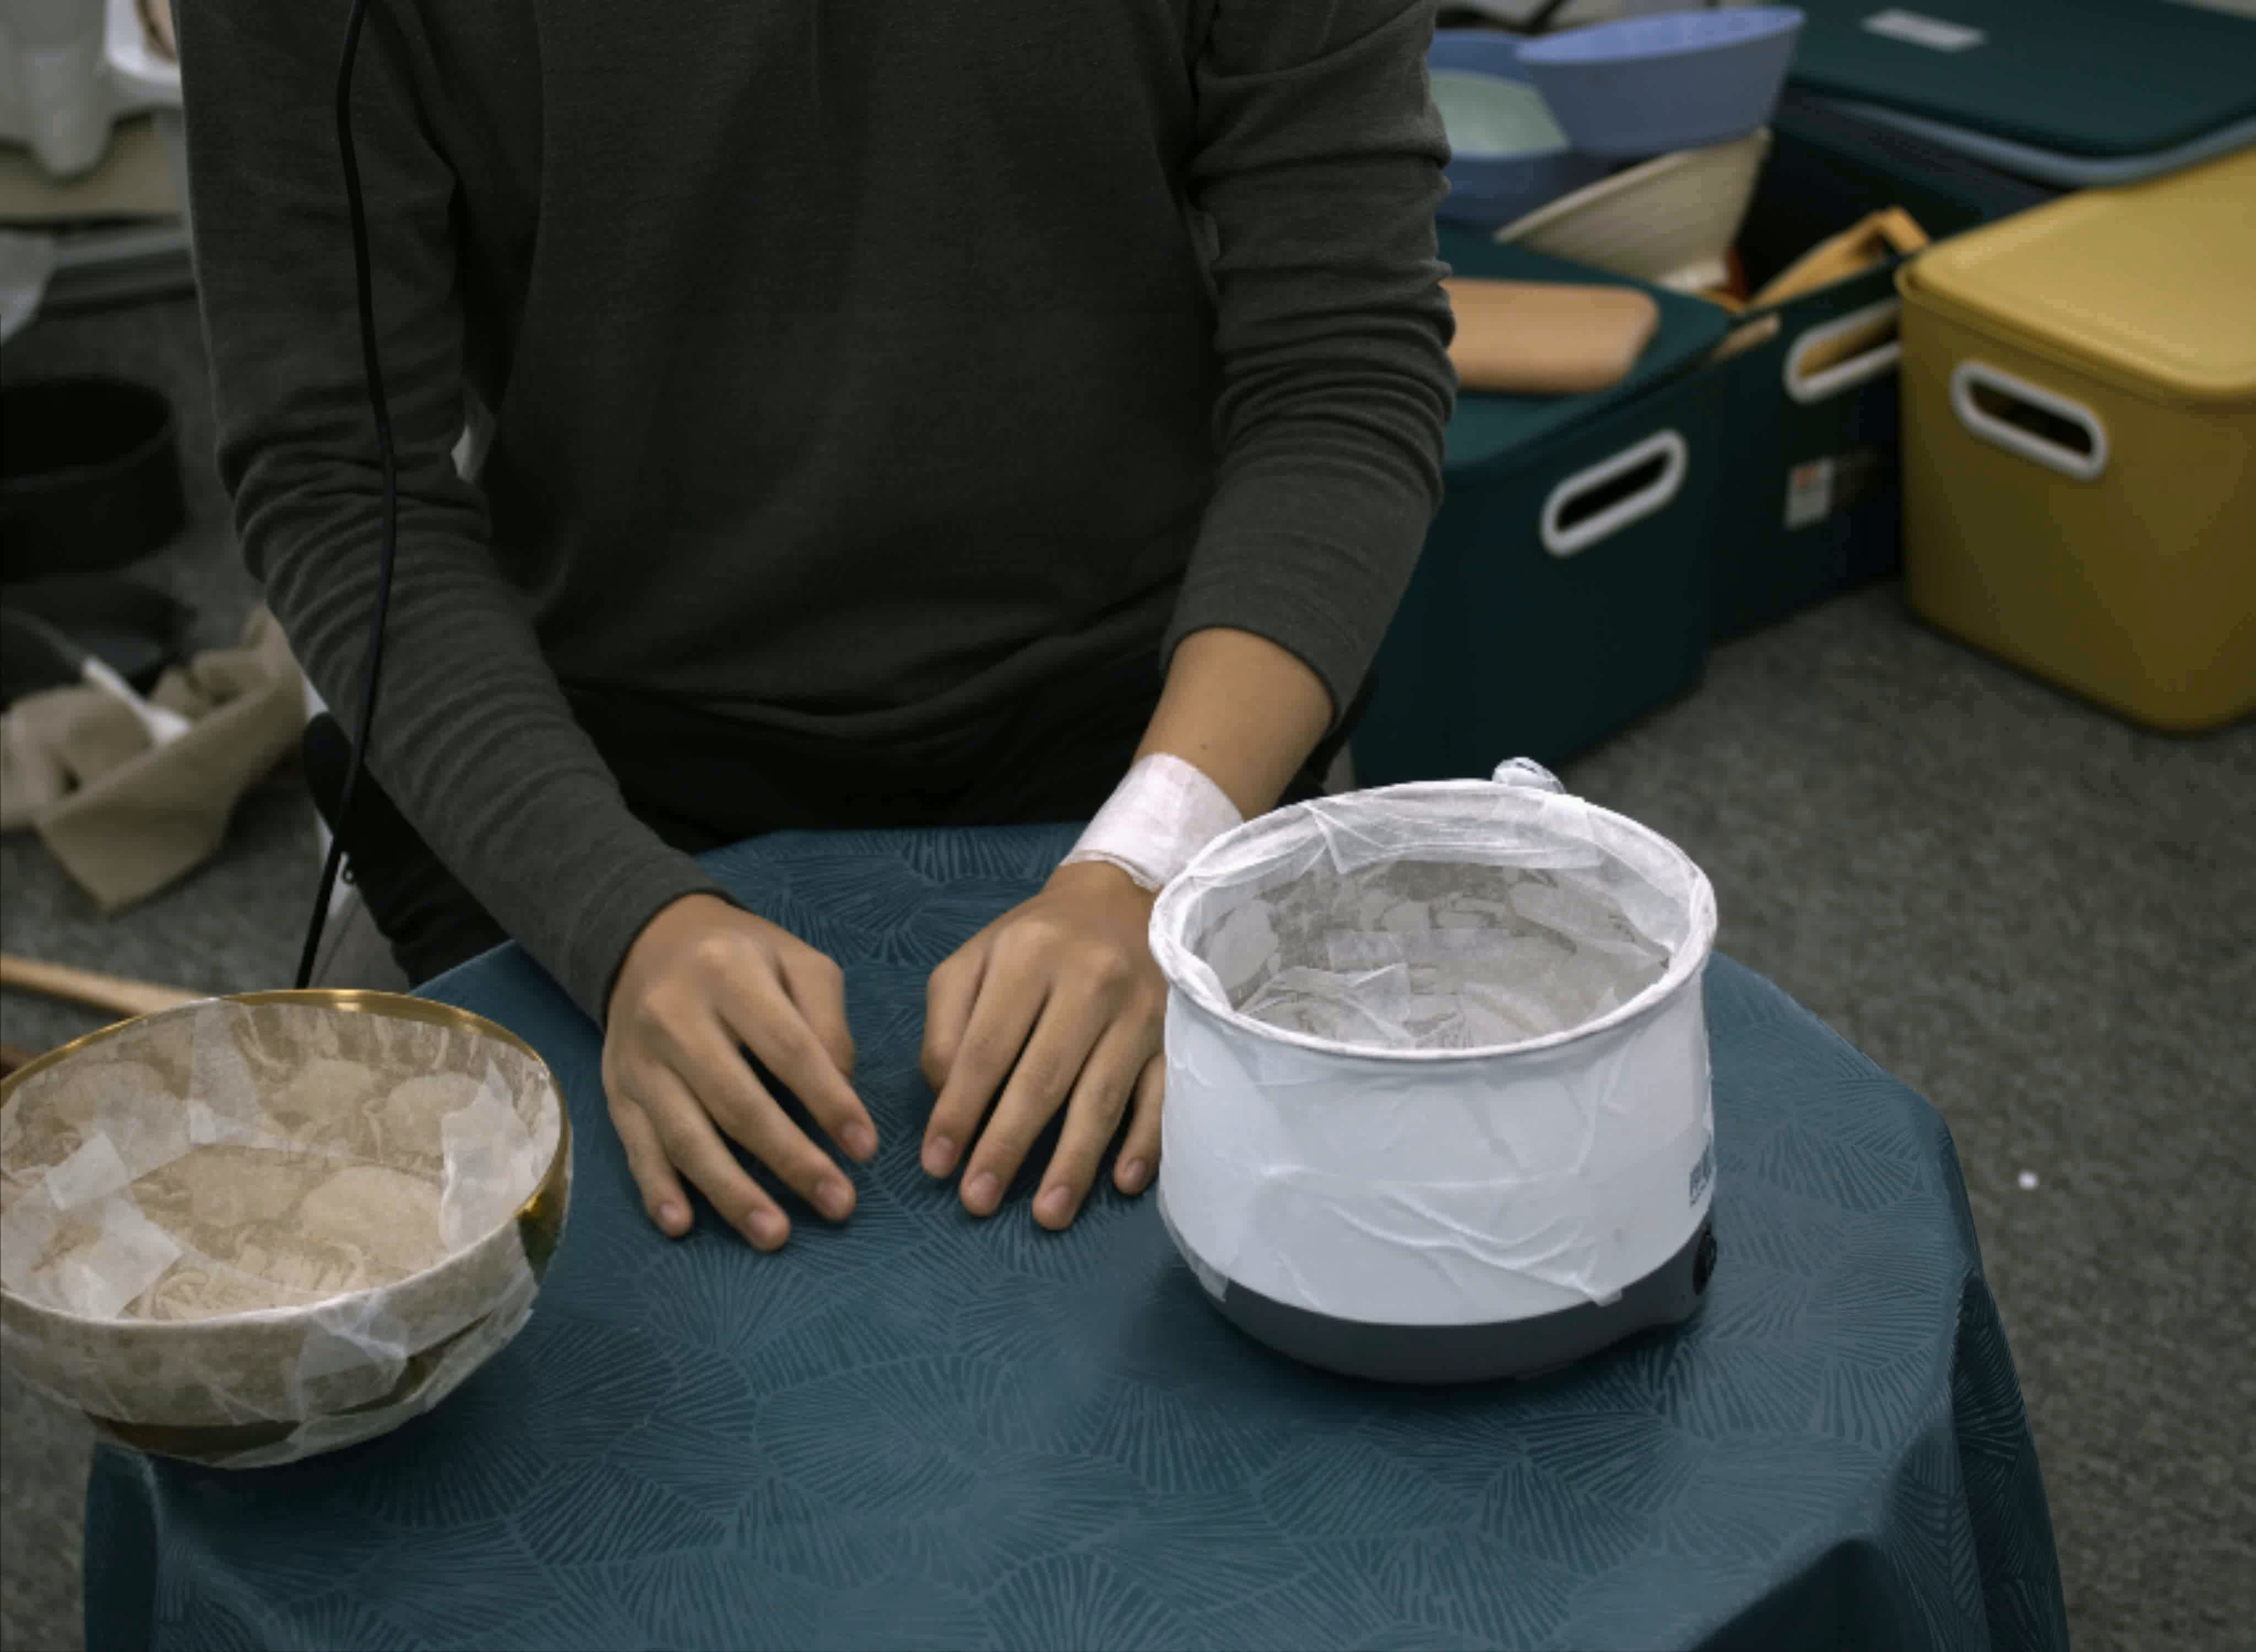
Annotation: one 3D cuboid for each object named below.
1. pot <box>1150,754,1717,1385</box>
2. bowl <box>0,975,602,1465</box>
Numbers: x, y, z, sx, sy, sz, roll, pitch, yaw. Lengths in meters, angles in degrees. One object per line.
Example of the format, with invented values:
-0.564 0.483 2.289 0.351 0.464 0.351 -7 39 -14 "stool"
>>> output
0.106 0.070 1.804 0.177 0.135 0.238 6 28 17 "pot"
-0.267 0.136 1.758 0.213 0.093 0.218 -4 26 2 "bowl"
